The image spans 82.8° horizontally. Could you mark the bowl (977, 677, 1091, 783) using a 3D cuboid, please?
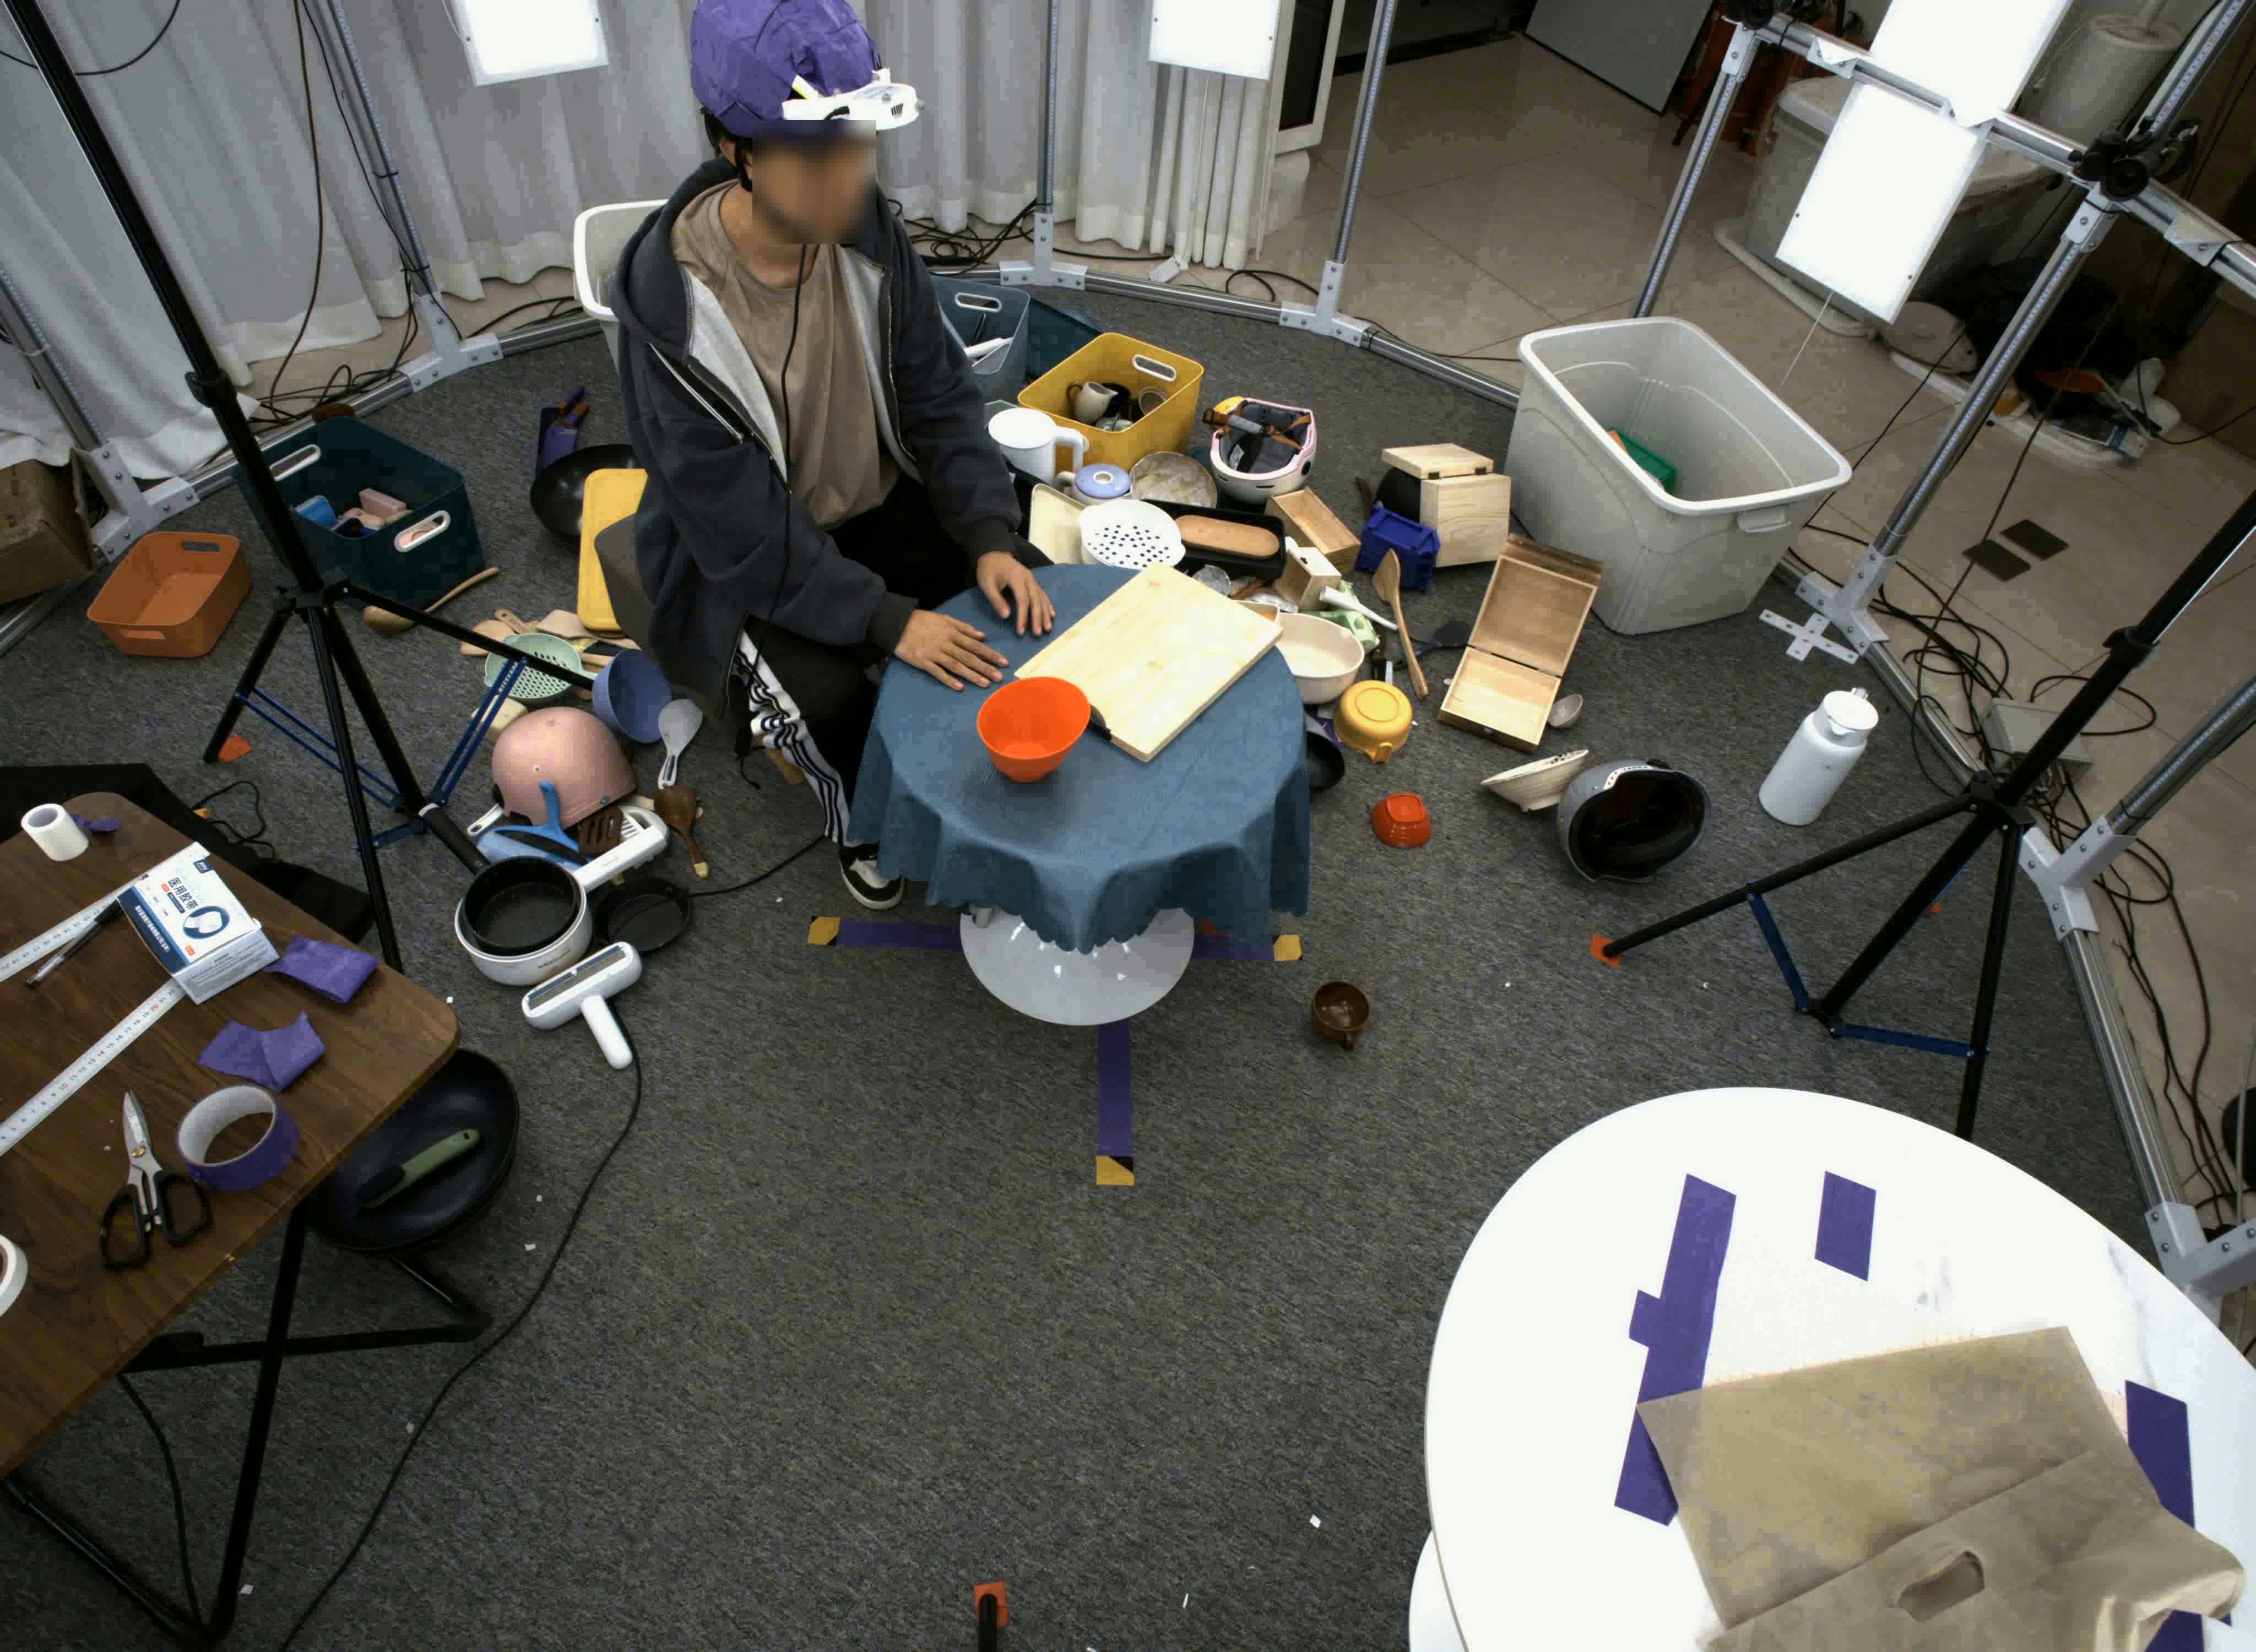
[{"bbox_3d":[-0.124,-0.115,1.692,0.148,0.102,0.152,2,50,-3],"label":"bowl"}]

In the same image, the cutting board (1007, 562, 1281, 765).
[{"bbox_3d":[0.030,-0.246,1.872,0.253,0.023,0.353,31,54,22],"label":"cutting board"}]
